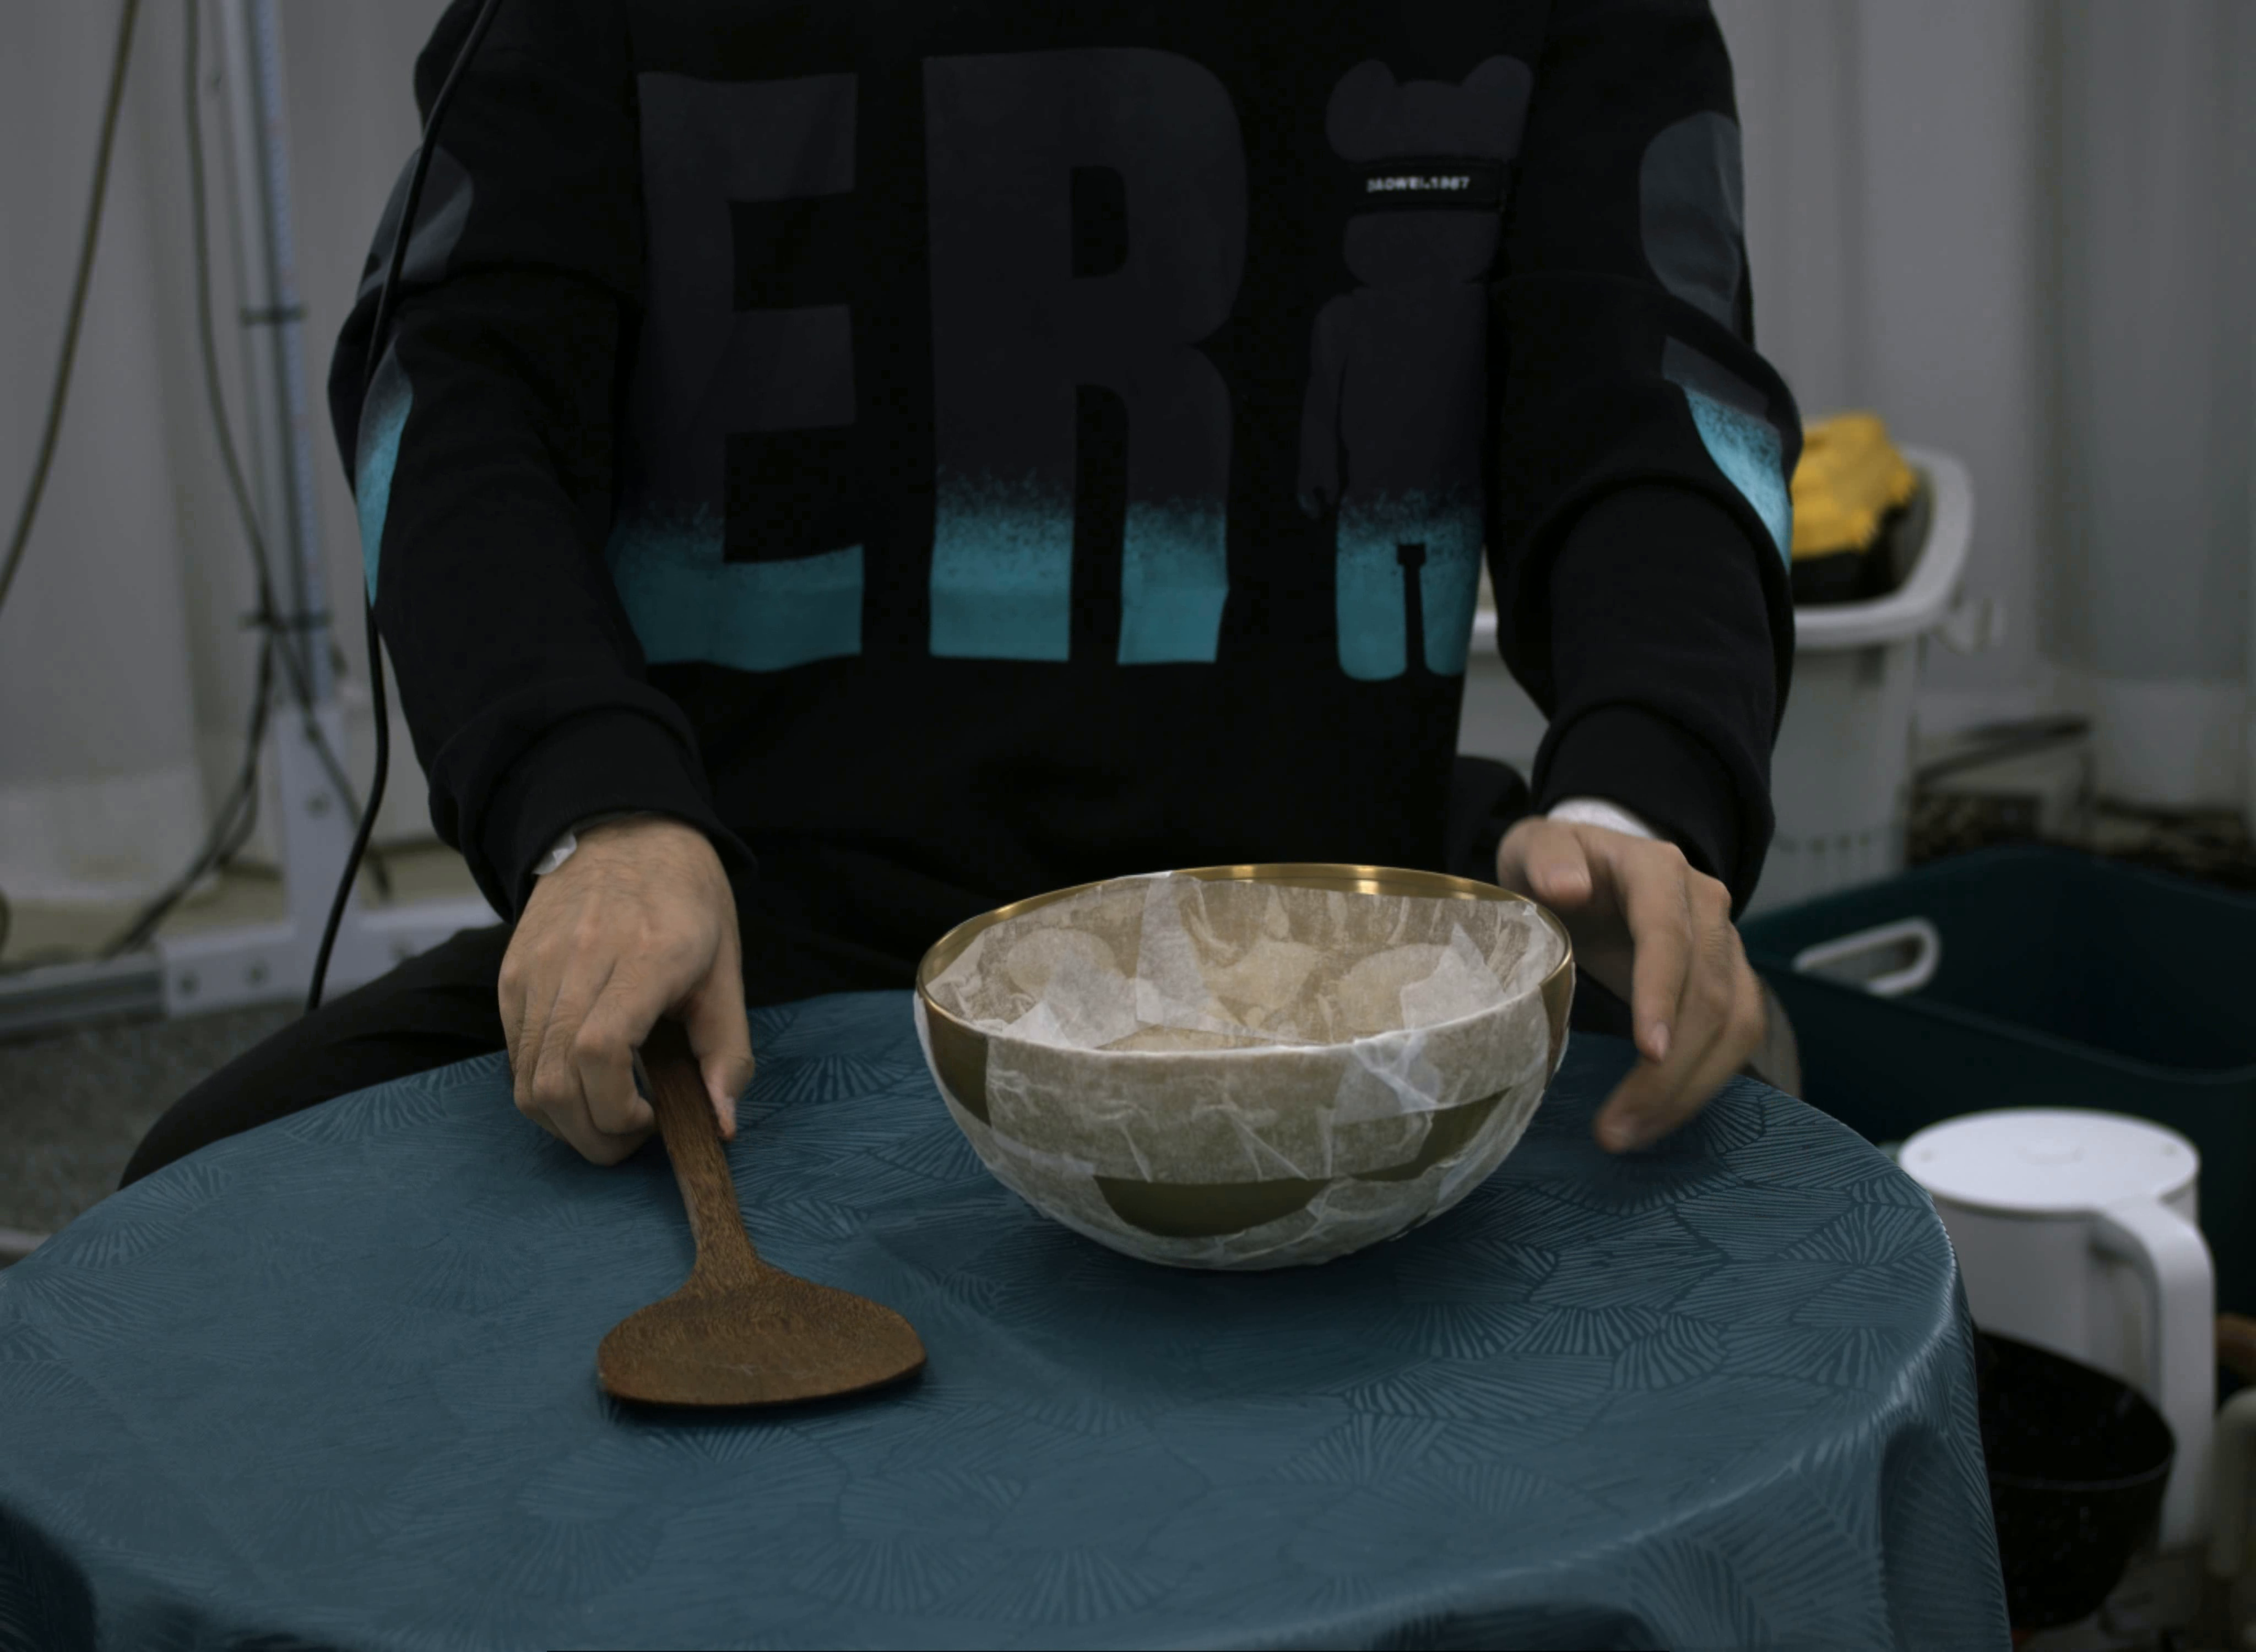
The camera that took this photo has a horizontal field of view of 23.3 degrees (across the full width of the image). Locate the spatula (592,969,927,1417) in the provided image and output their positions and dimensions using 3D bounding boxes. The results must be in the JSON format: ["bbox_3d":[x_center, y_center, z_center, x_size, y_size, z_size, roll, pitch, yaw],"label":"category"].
[{"bbox_3d":[-0.134,0.108,1.715,0.095,0.016,0.389,-5,18,-9],"label":"spatula"}]

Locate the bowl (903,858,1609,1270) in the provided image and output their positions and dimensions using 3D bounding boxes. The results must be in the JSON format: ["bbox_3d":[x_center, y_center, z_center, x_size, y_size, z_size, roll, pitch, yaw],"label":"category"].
[{"bbox_3d":[0.039,0.080,1.659,0.214,0.094,0.216,-4,14,1],"label":"bowl"}]
